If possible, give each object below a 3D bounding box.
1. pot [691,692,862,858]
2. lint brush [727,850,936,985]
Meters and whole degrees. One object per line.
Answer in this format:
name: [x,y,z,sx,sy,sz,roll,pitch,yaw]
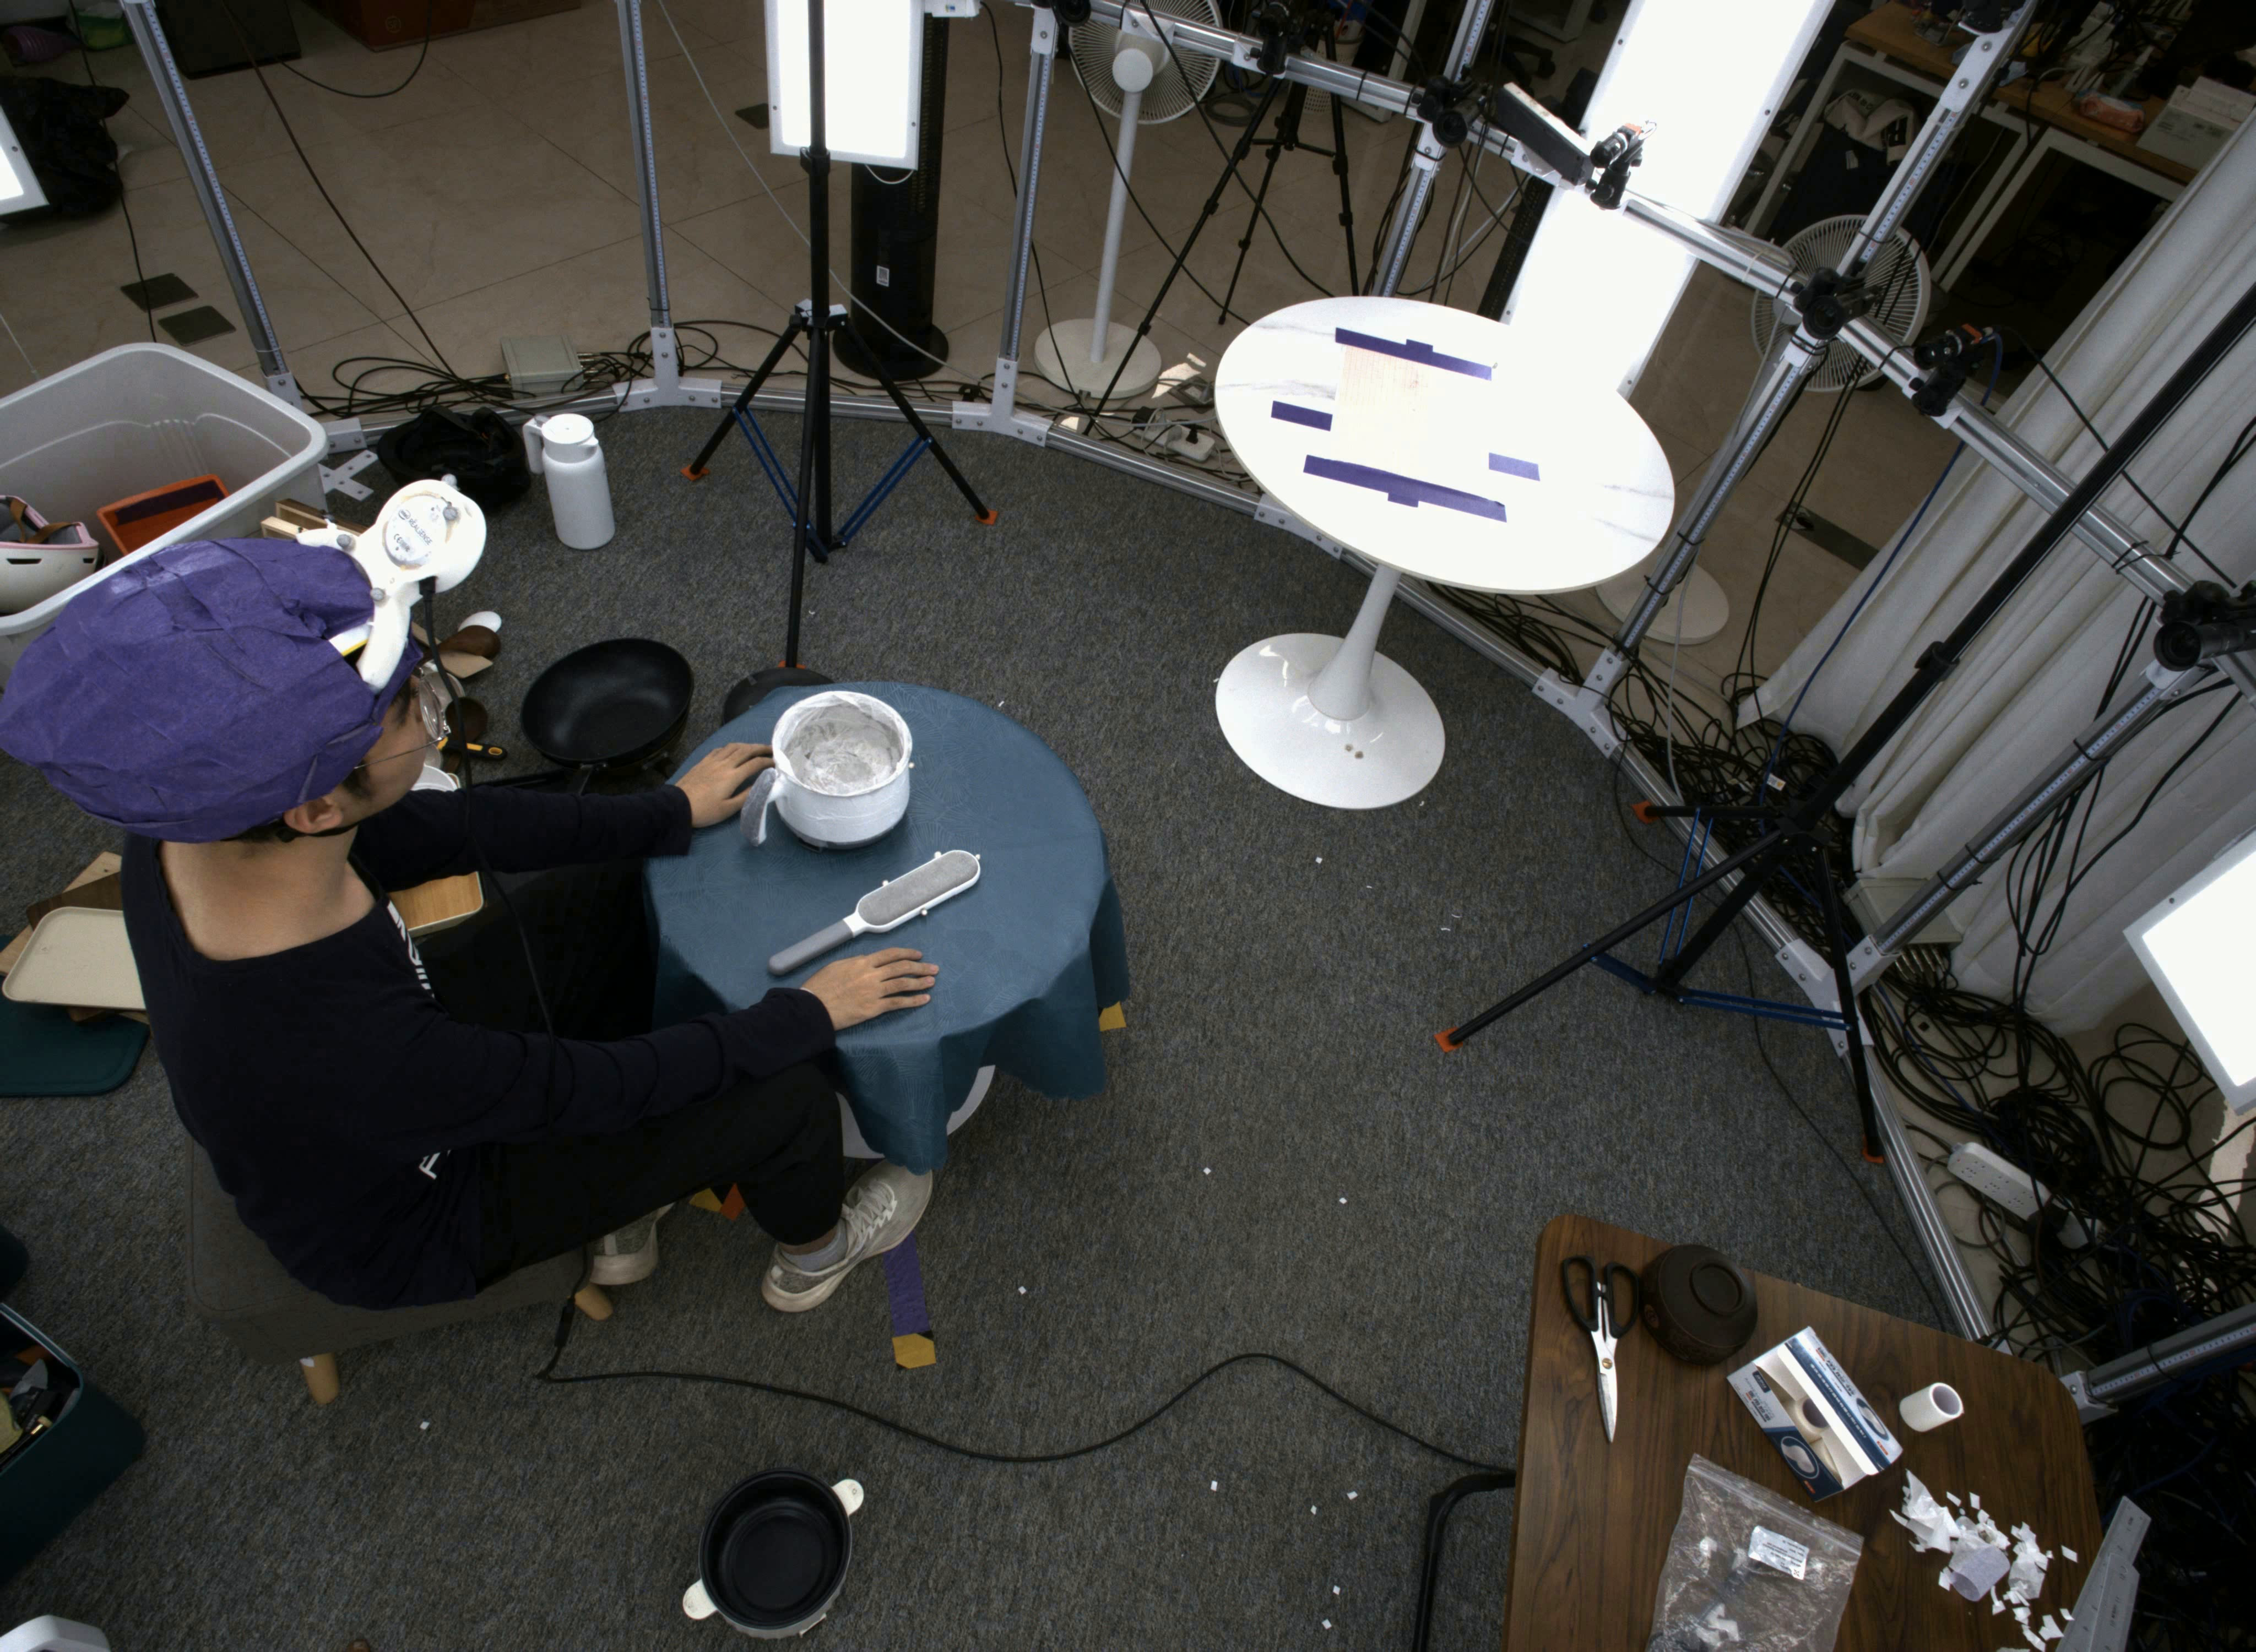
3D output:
pot: [-0.458,-0.053,1.674,0.234,0.140,0.174,-32,63,-32]
lint brush: [-0.373,0.112,1.647,0.310,0.021,0.059,-32,73,-31]
